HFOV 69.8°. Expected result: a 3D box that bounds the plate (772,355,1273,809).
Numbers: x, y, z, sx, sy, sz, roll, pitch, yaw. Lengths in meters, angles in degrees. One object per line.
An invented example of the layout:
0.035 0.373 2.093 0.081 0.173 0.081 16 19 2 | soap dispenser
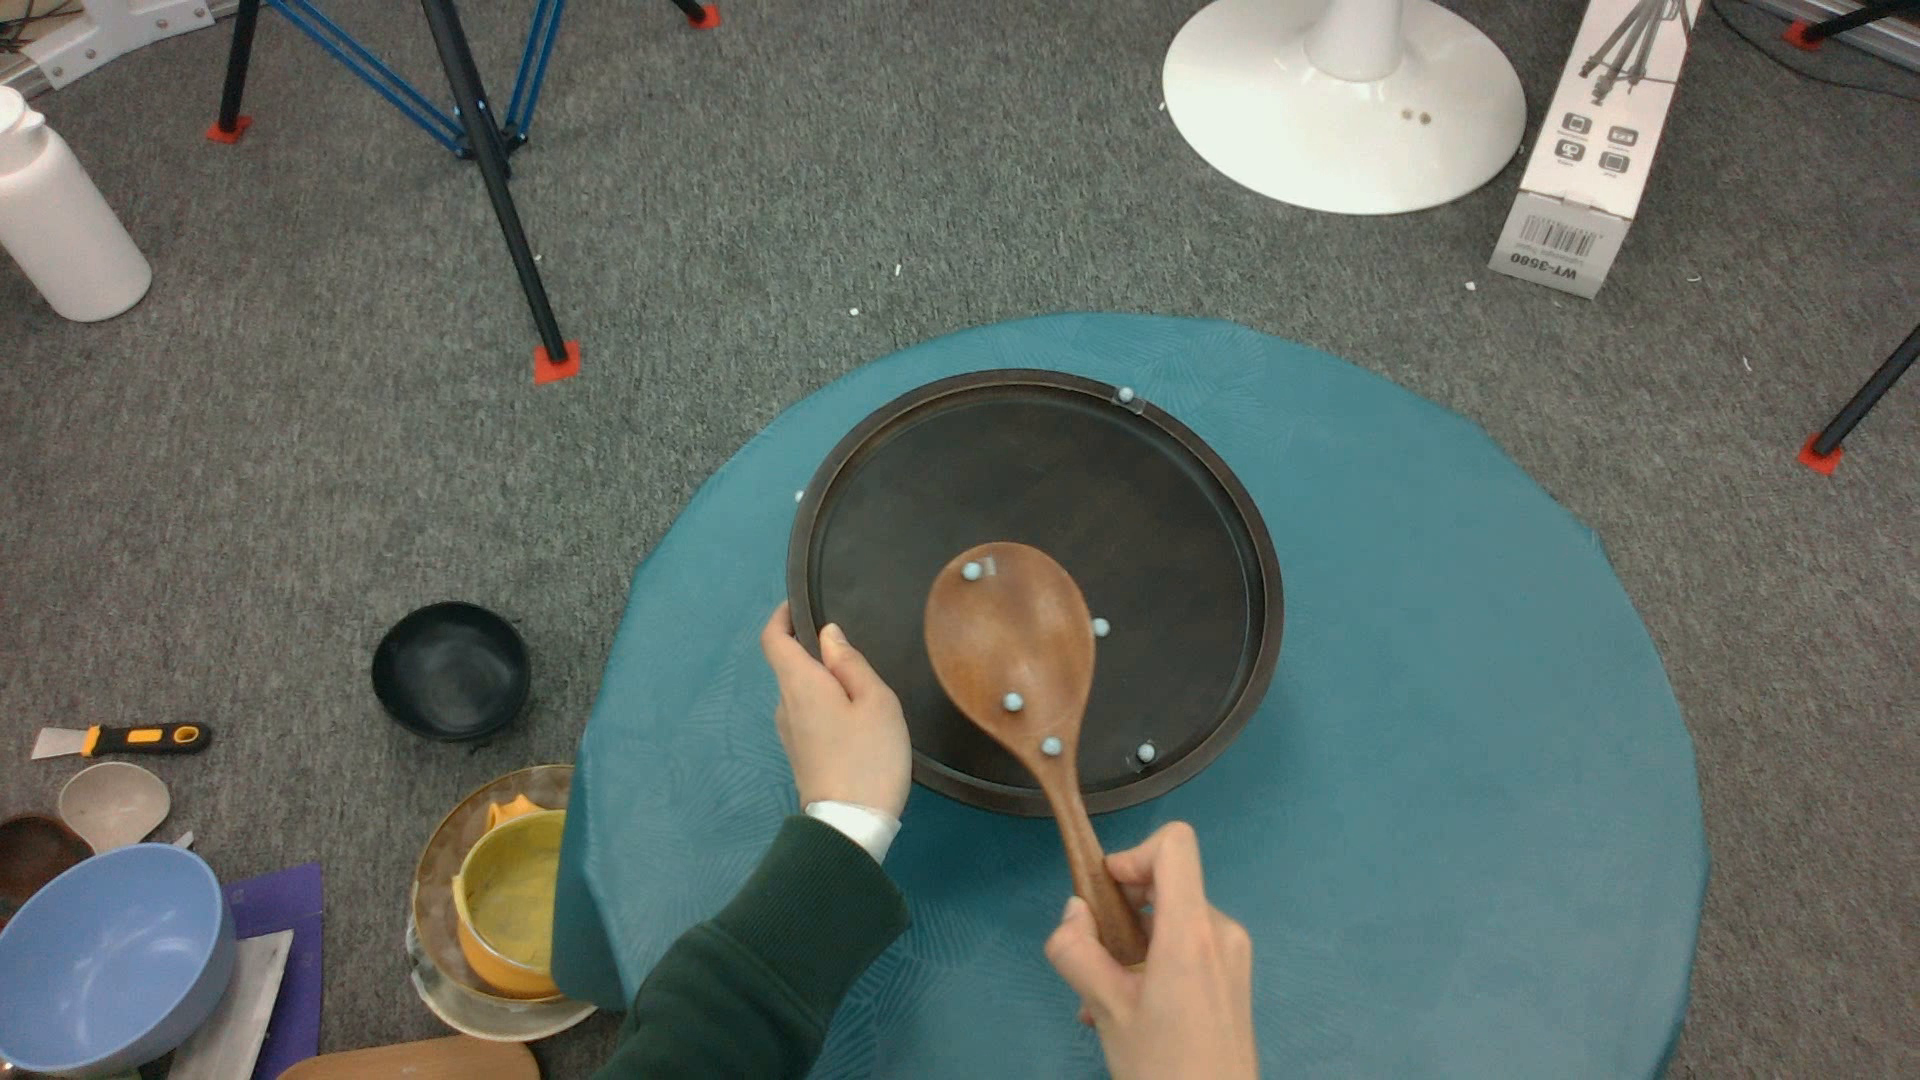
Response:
0.032 0.015 0.697 0.255 0.029 0.256 3 60 -5 | plate

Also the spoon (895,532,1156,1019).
0.032 0.095 0.586 0.075 0.017 0.216 -17 70 -11 | spoon
